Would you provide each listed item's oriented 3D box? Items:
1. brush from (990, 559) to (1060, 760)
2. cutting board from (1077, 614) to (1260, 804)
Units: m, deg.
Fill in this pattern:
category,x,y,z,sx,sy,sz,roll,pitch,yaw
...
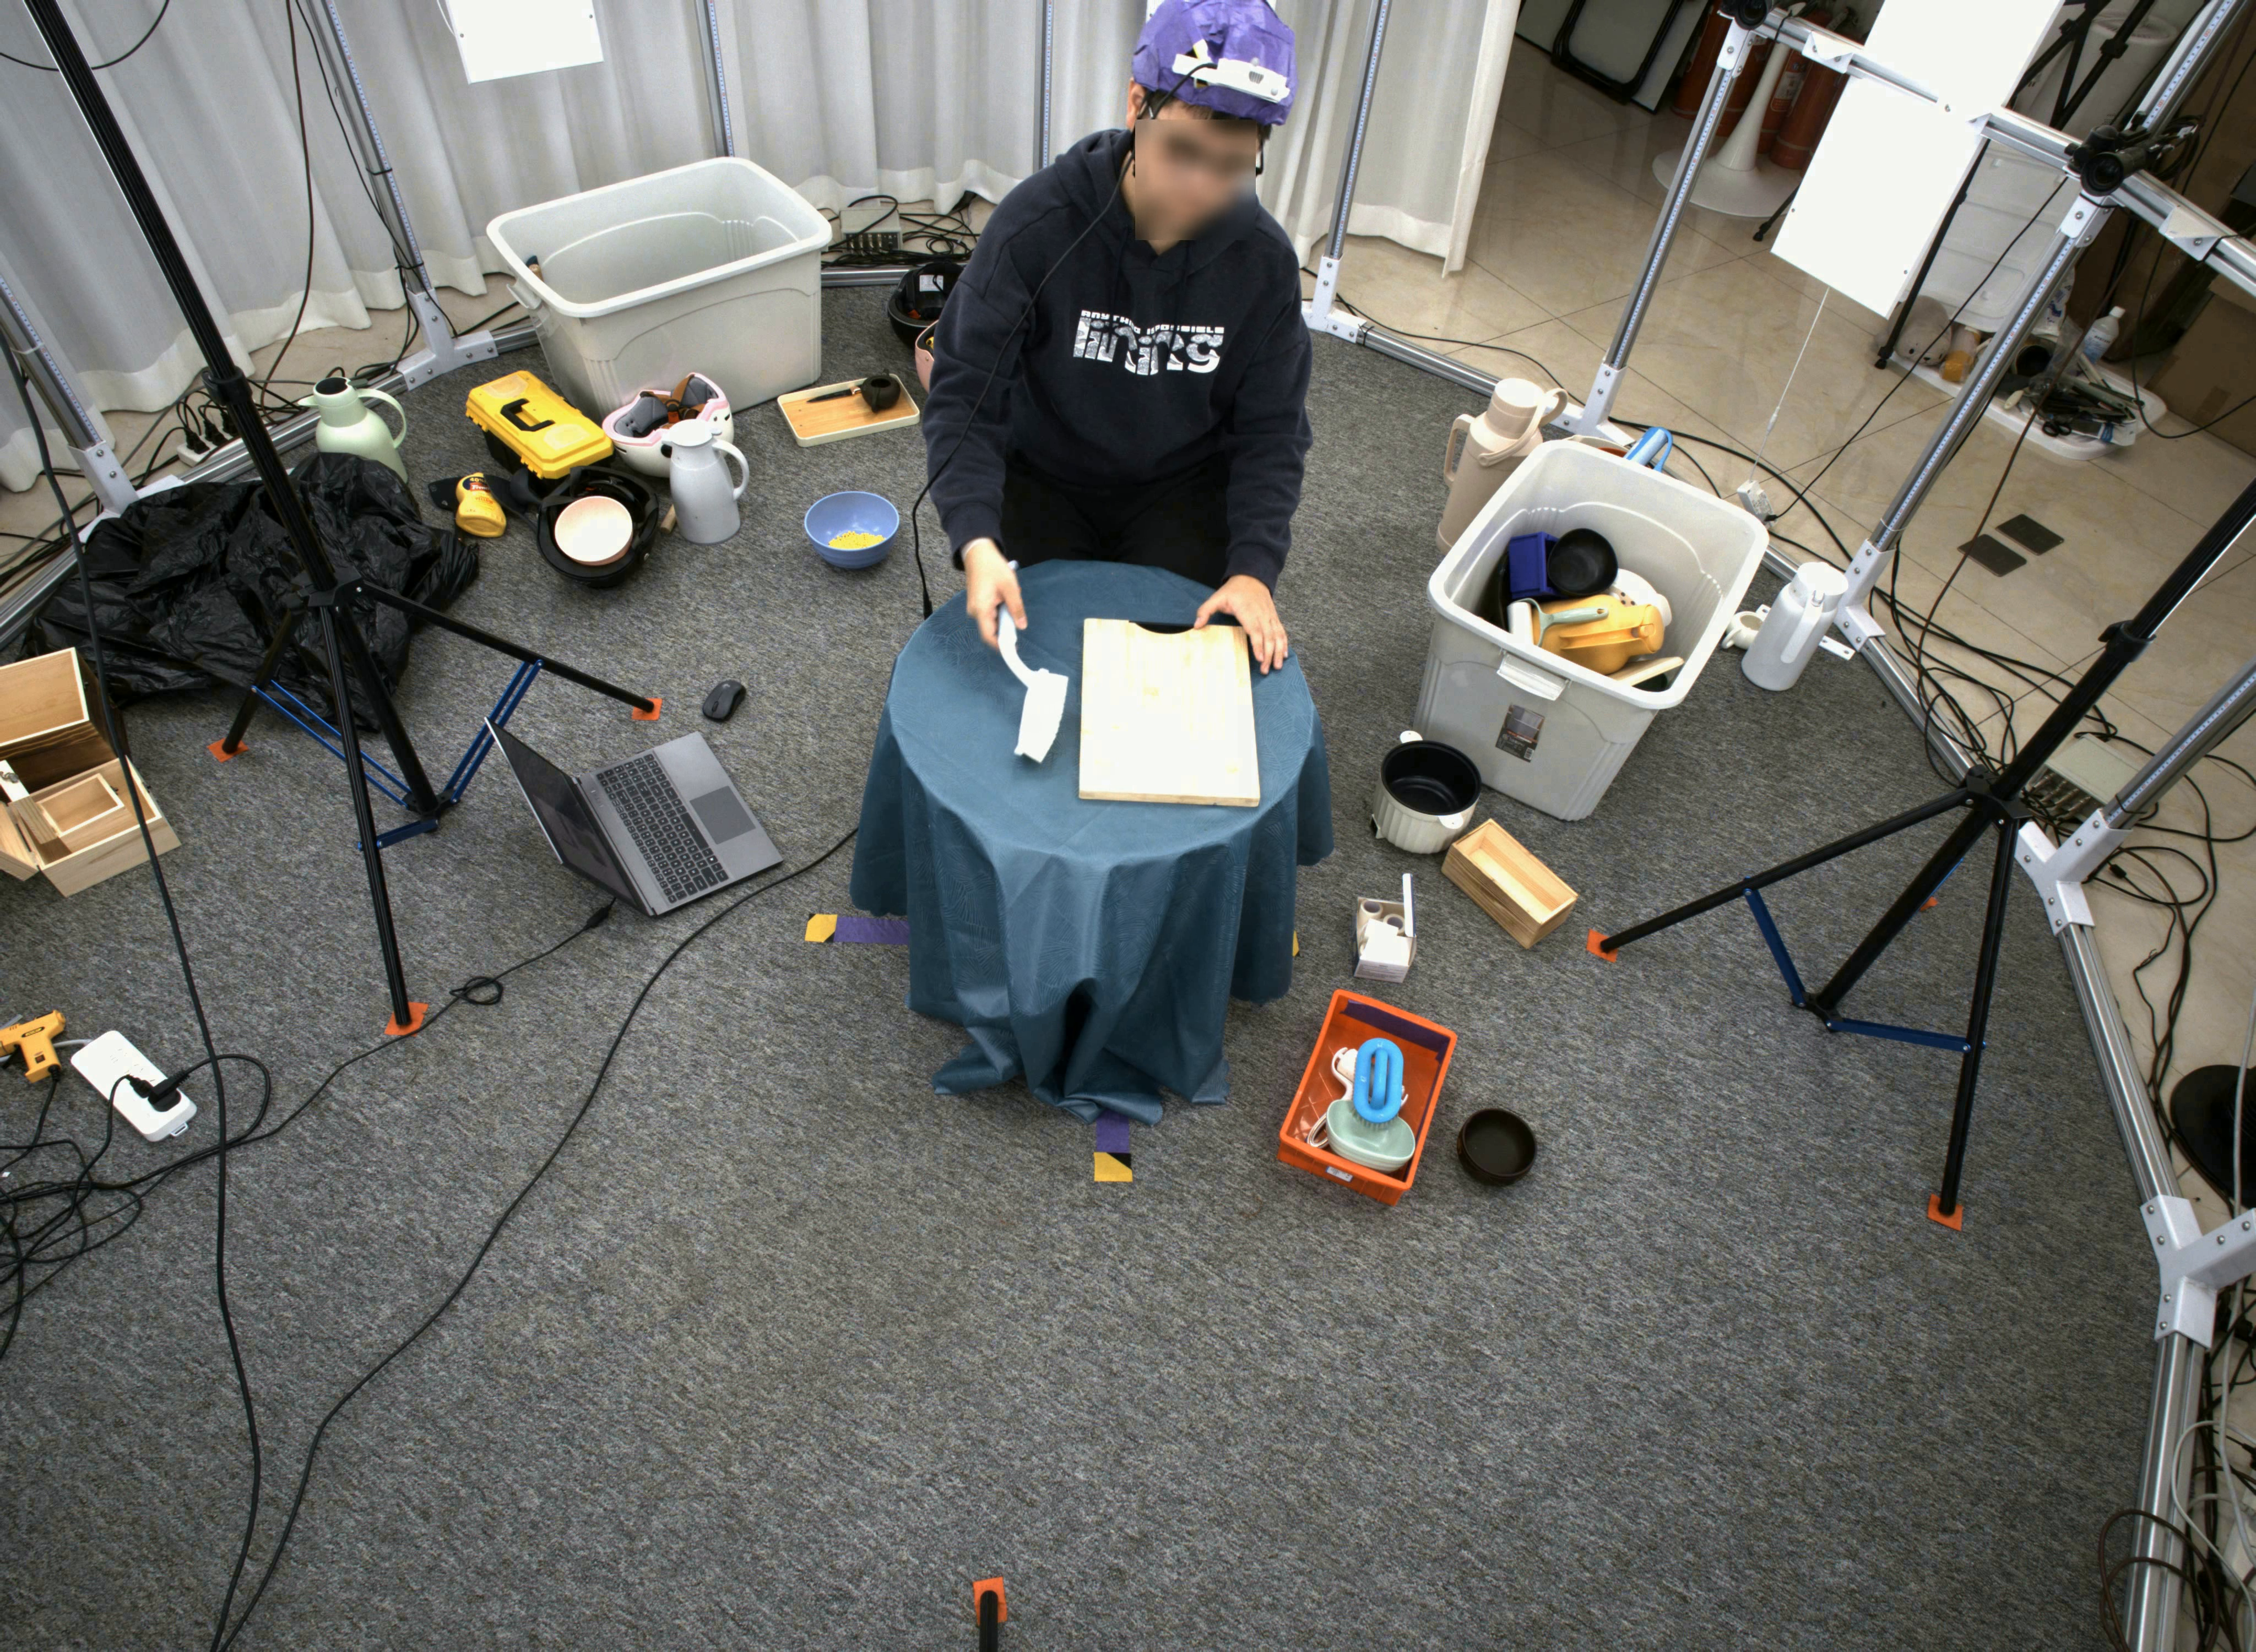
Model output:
category,x,y,z,sx,sy,sz,roll,pitch,yaw
brush,-0.131,-0.238,1.782,0.082,0.083,0.332,-25,56,30
cutting board,0.055,-0.171,1.807,0.250,0.023,0.357,2,49,-3
